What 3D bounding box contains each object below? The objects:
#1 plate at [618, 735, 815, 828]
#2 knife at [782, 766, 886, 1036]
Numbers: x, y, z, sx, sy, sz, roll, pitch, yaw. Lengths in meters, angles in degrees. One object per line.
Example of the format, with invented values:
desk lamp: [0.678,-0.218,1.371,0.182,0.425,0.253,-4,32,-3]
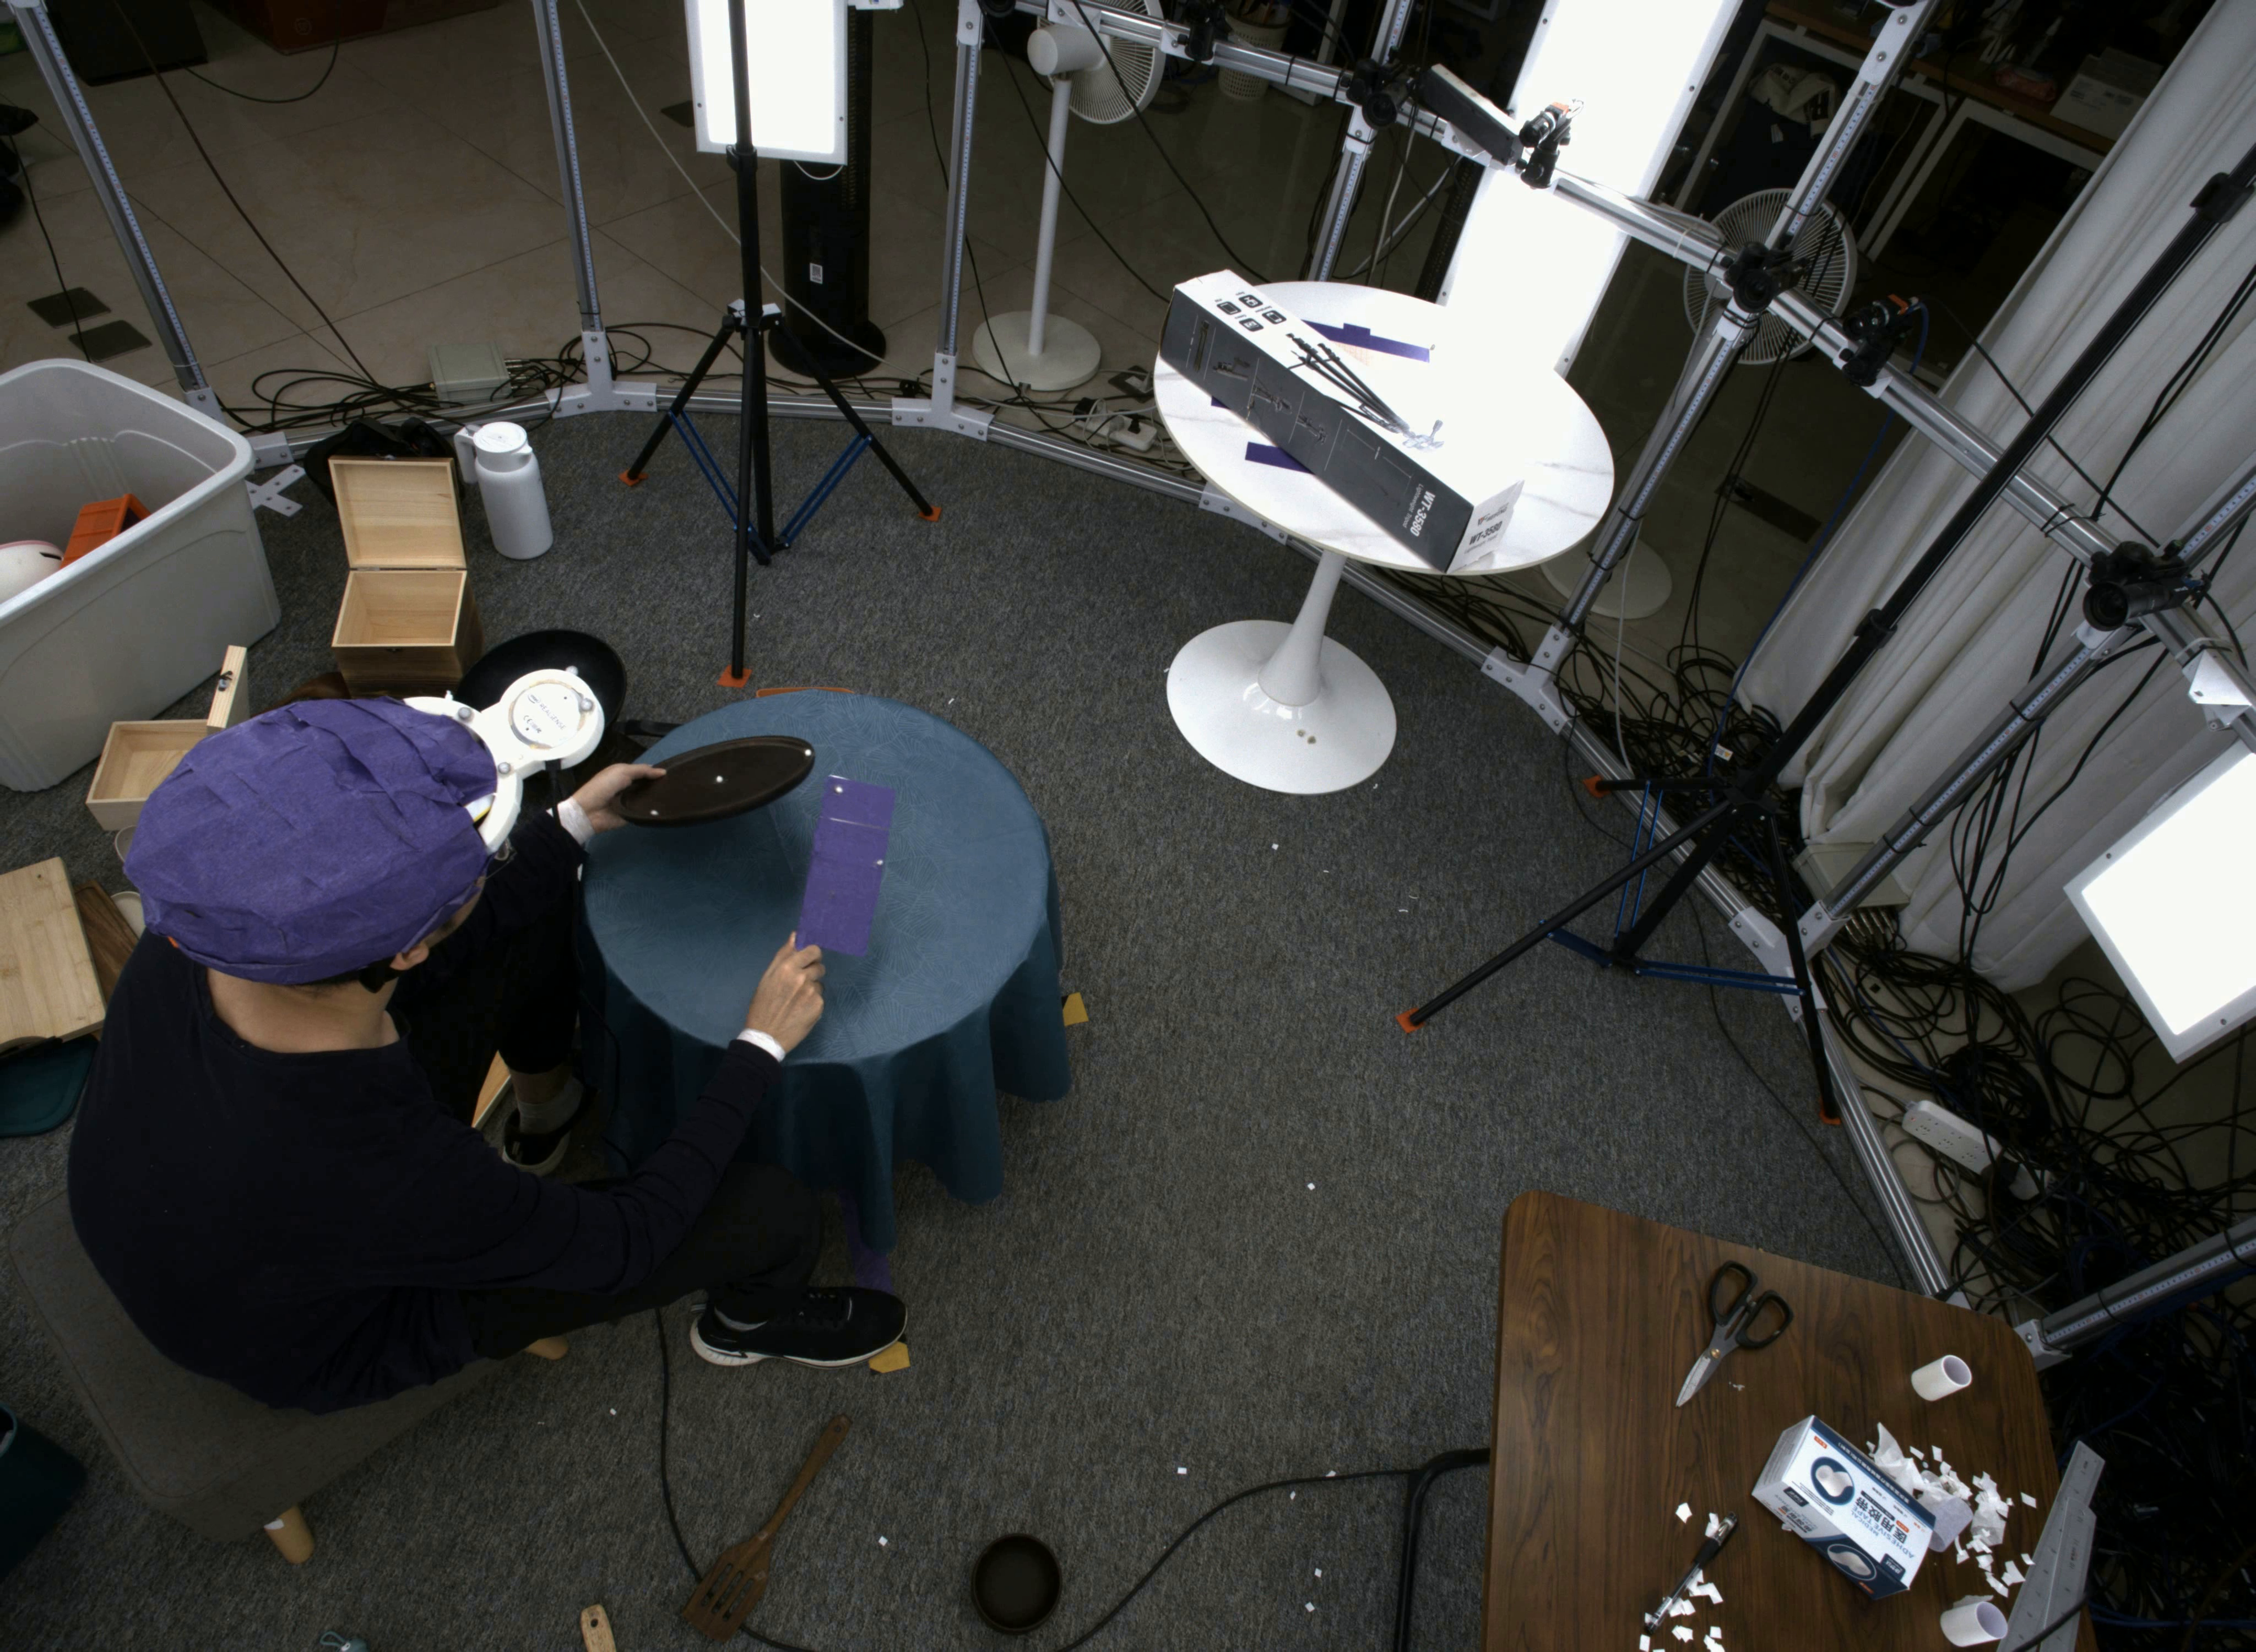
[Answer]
plate: [-0.513,-0.059,1.610,0.251,0.030,0.250,-7,23,5]
knife: [-0.345,0.092,1.545,0.106,0.031,0.317,11,85,-32]
